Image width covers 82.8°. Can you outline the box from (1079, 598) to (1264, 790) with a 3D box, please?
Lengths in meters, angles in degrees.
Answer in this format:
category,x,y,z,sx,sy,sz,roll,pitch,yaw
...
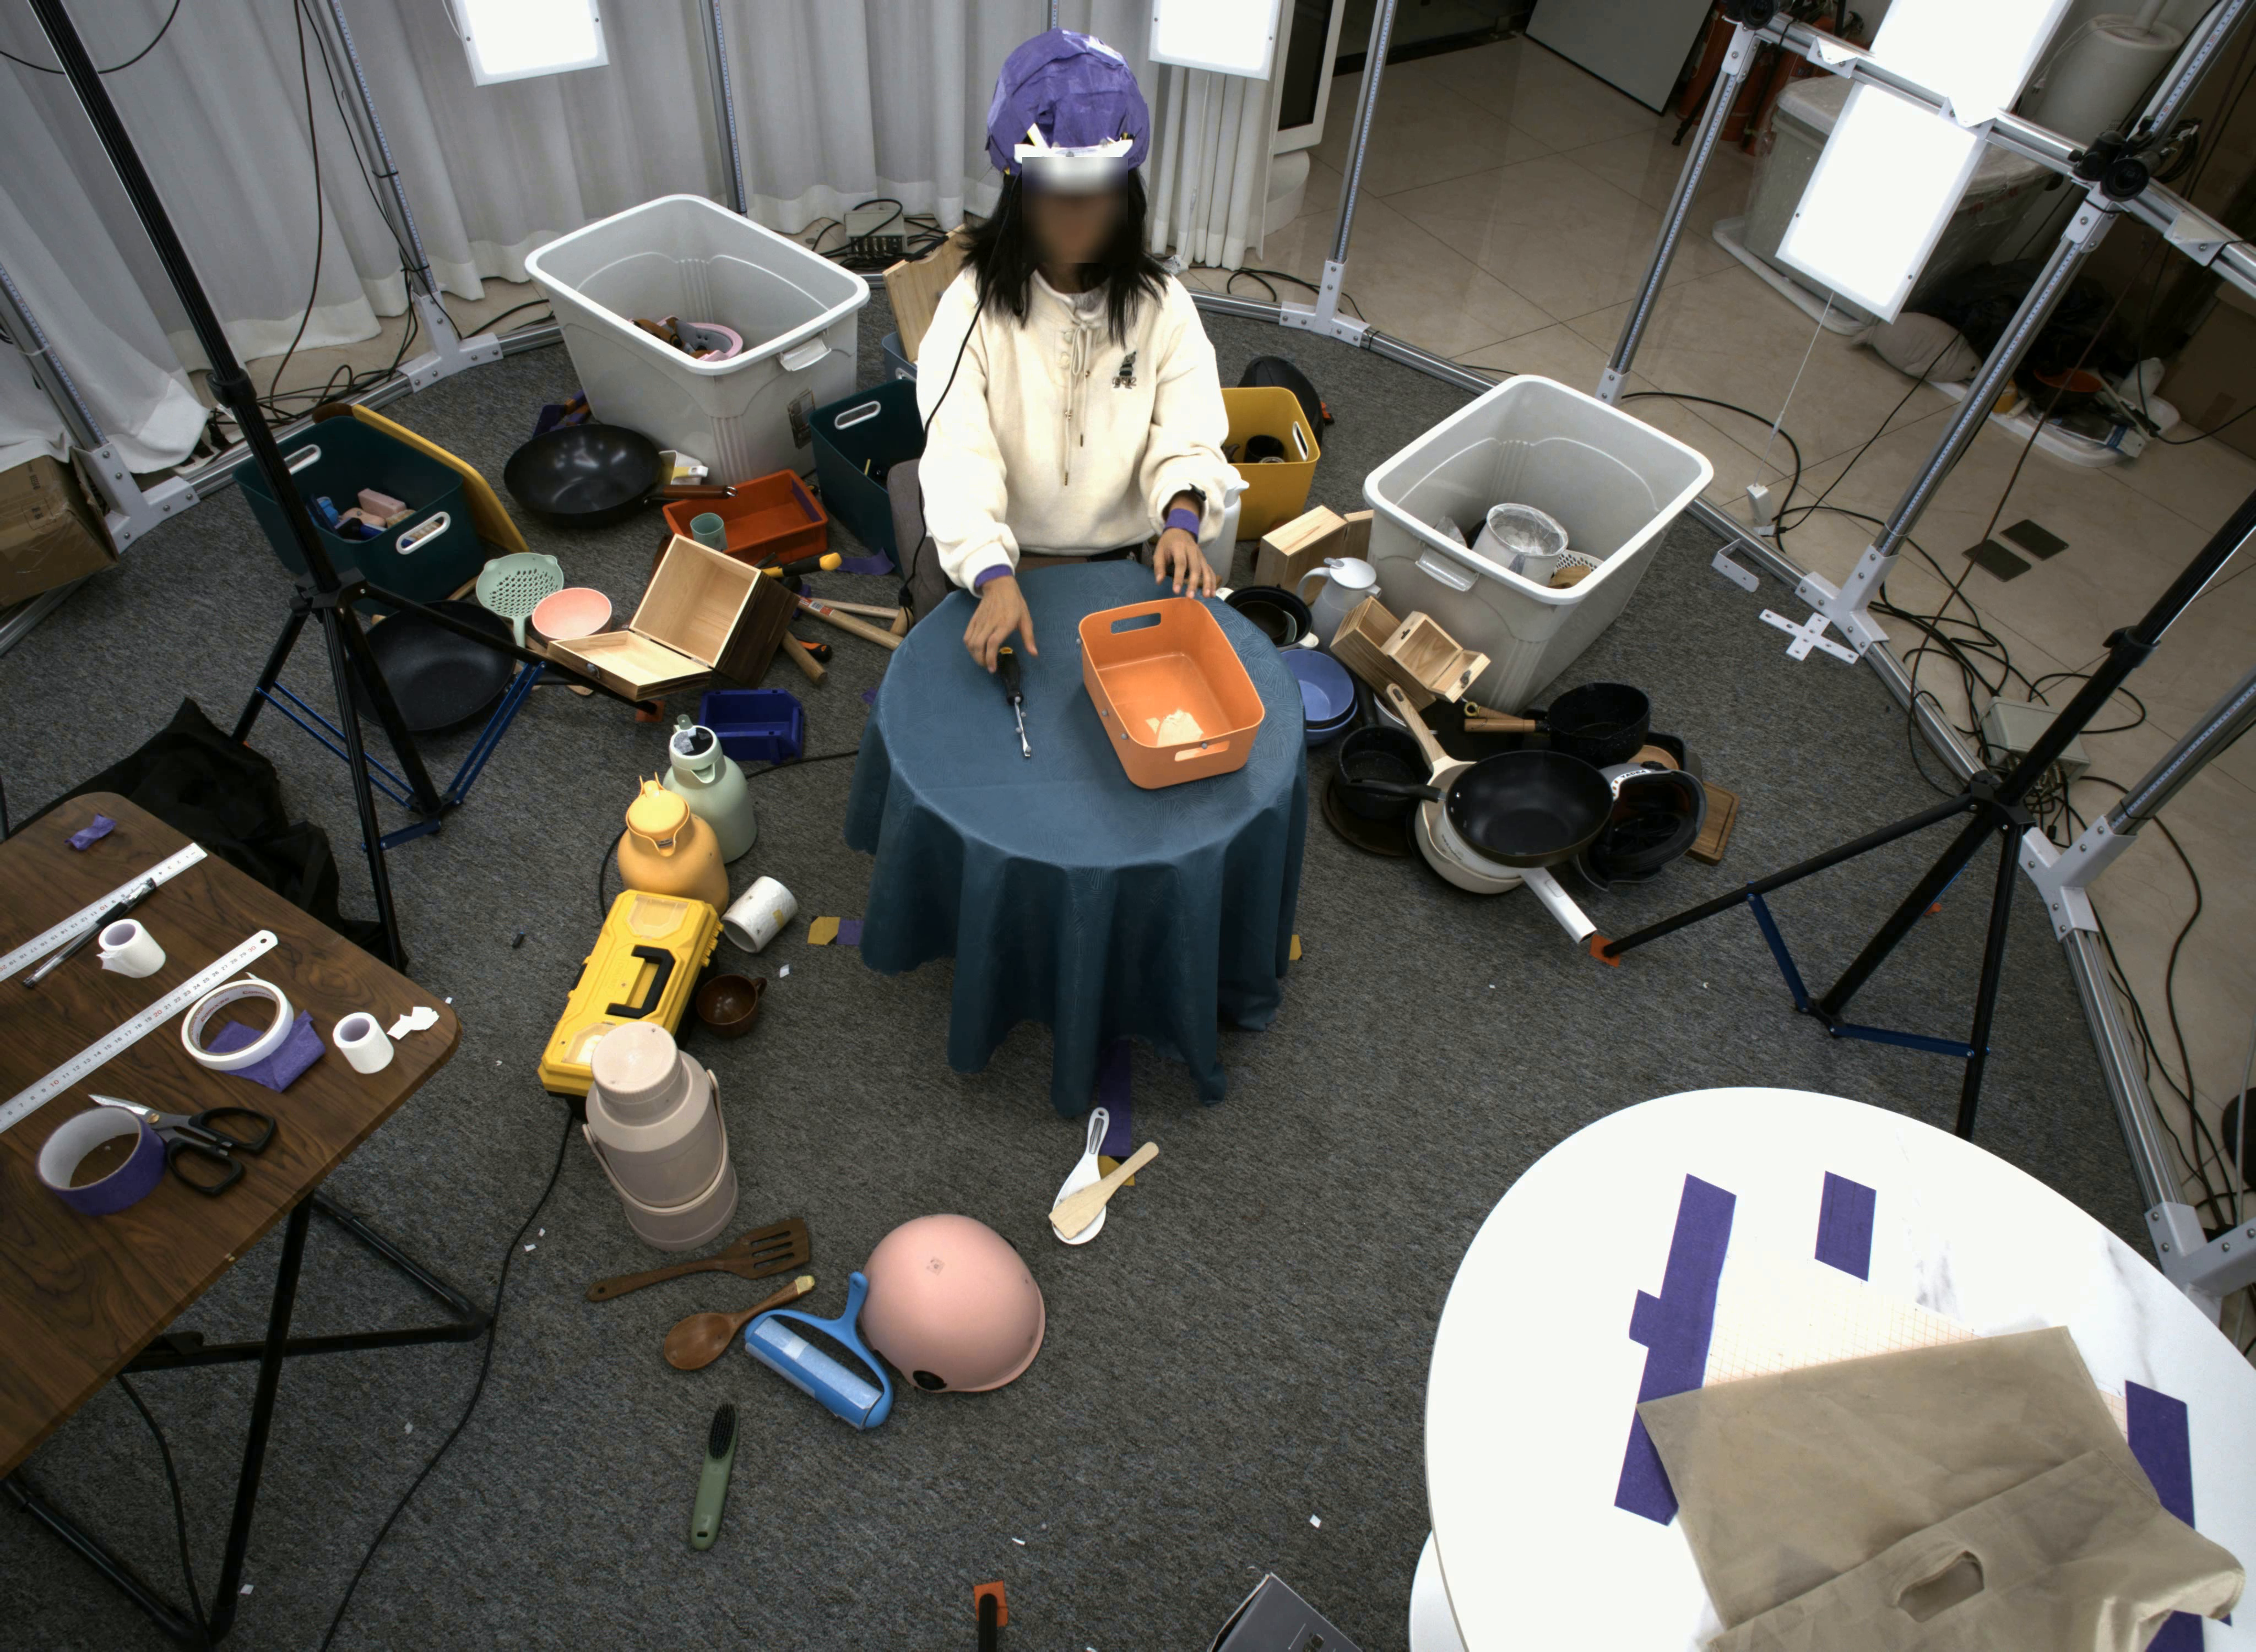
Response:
category,x,y,z,sx,sy,sz,roll,pitch,yaw
box,0.054,-0.181,1.764,0.199,0.100,0.280,-13,52,-14

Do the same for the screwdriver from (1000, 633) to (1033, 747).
category,x,y,z,sx,sy,sz,roll,pitch,yaw
screwdriver,-0.149,-0.190,1.795,0.031,0.031,0.202,-9,59,-13
